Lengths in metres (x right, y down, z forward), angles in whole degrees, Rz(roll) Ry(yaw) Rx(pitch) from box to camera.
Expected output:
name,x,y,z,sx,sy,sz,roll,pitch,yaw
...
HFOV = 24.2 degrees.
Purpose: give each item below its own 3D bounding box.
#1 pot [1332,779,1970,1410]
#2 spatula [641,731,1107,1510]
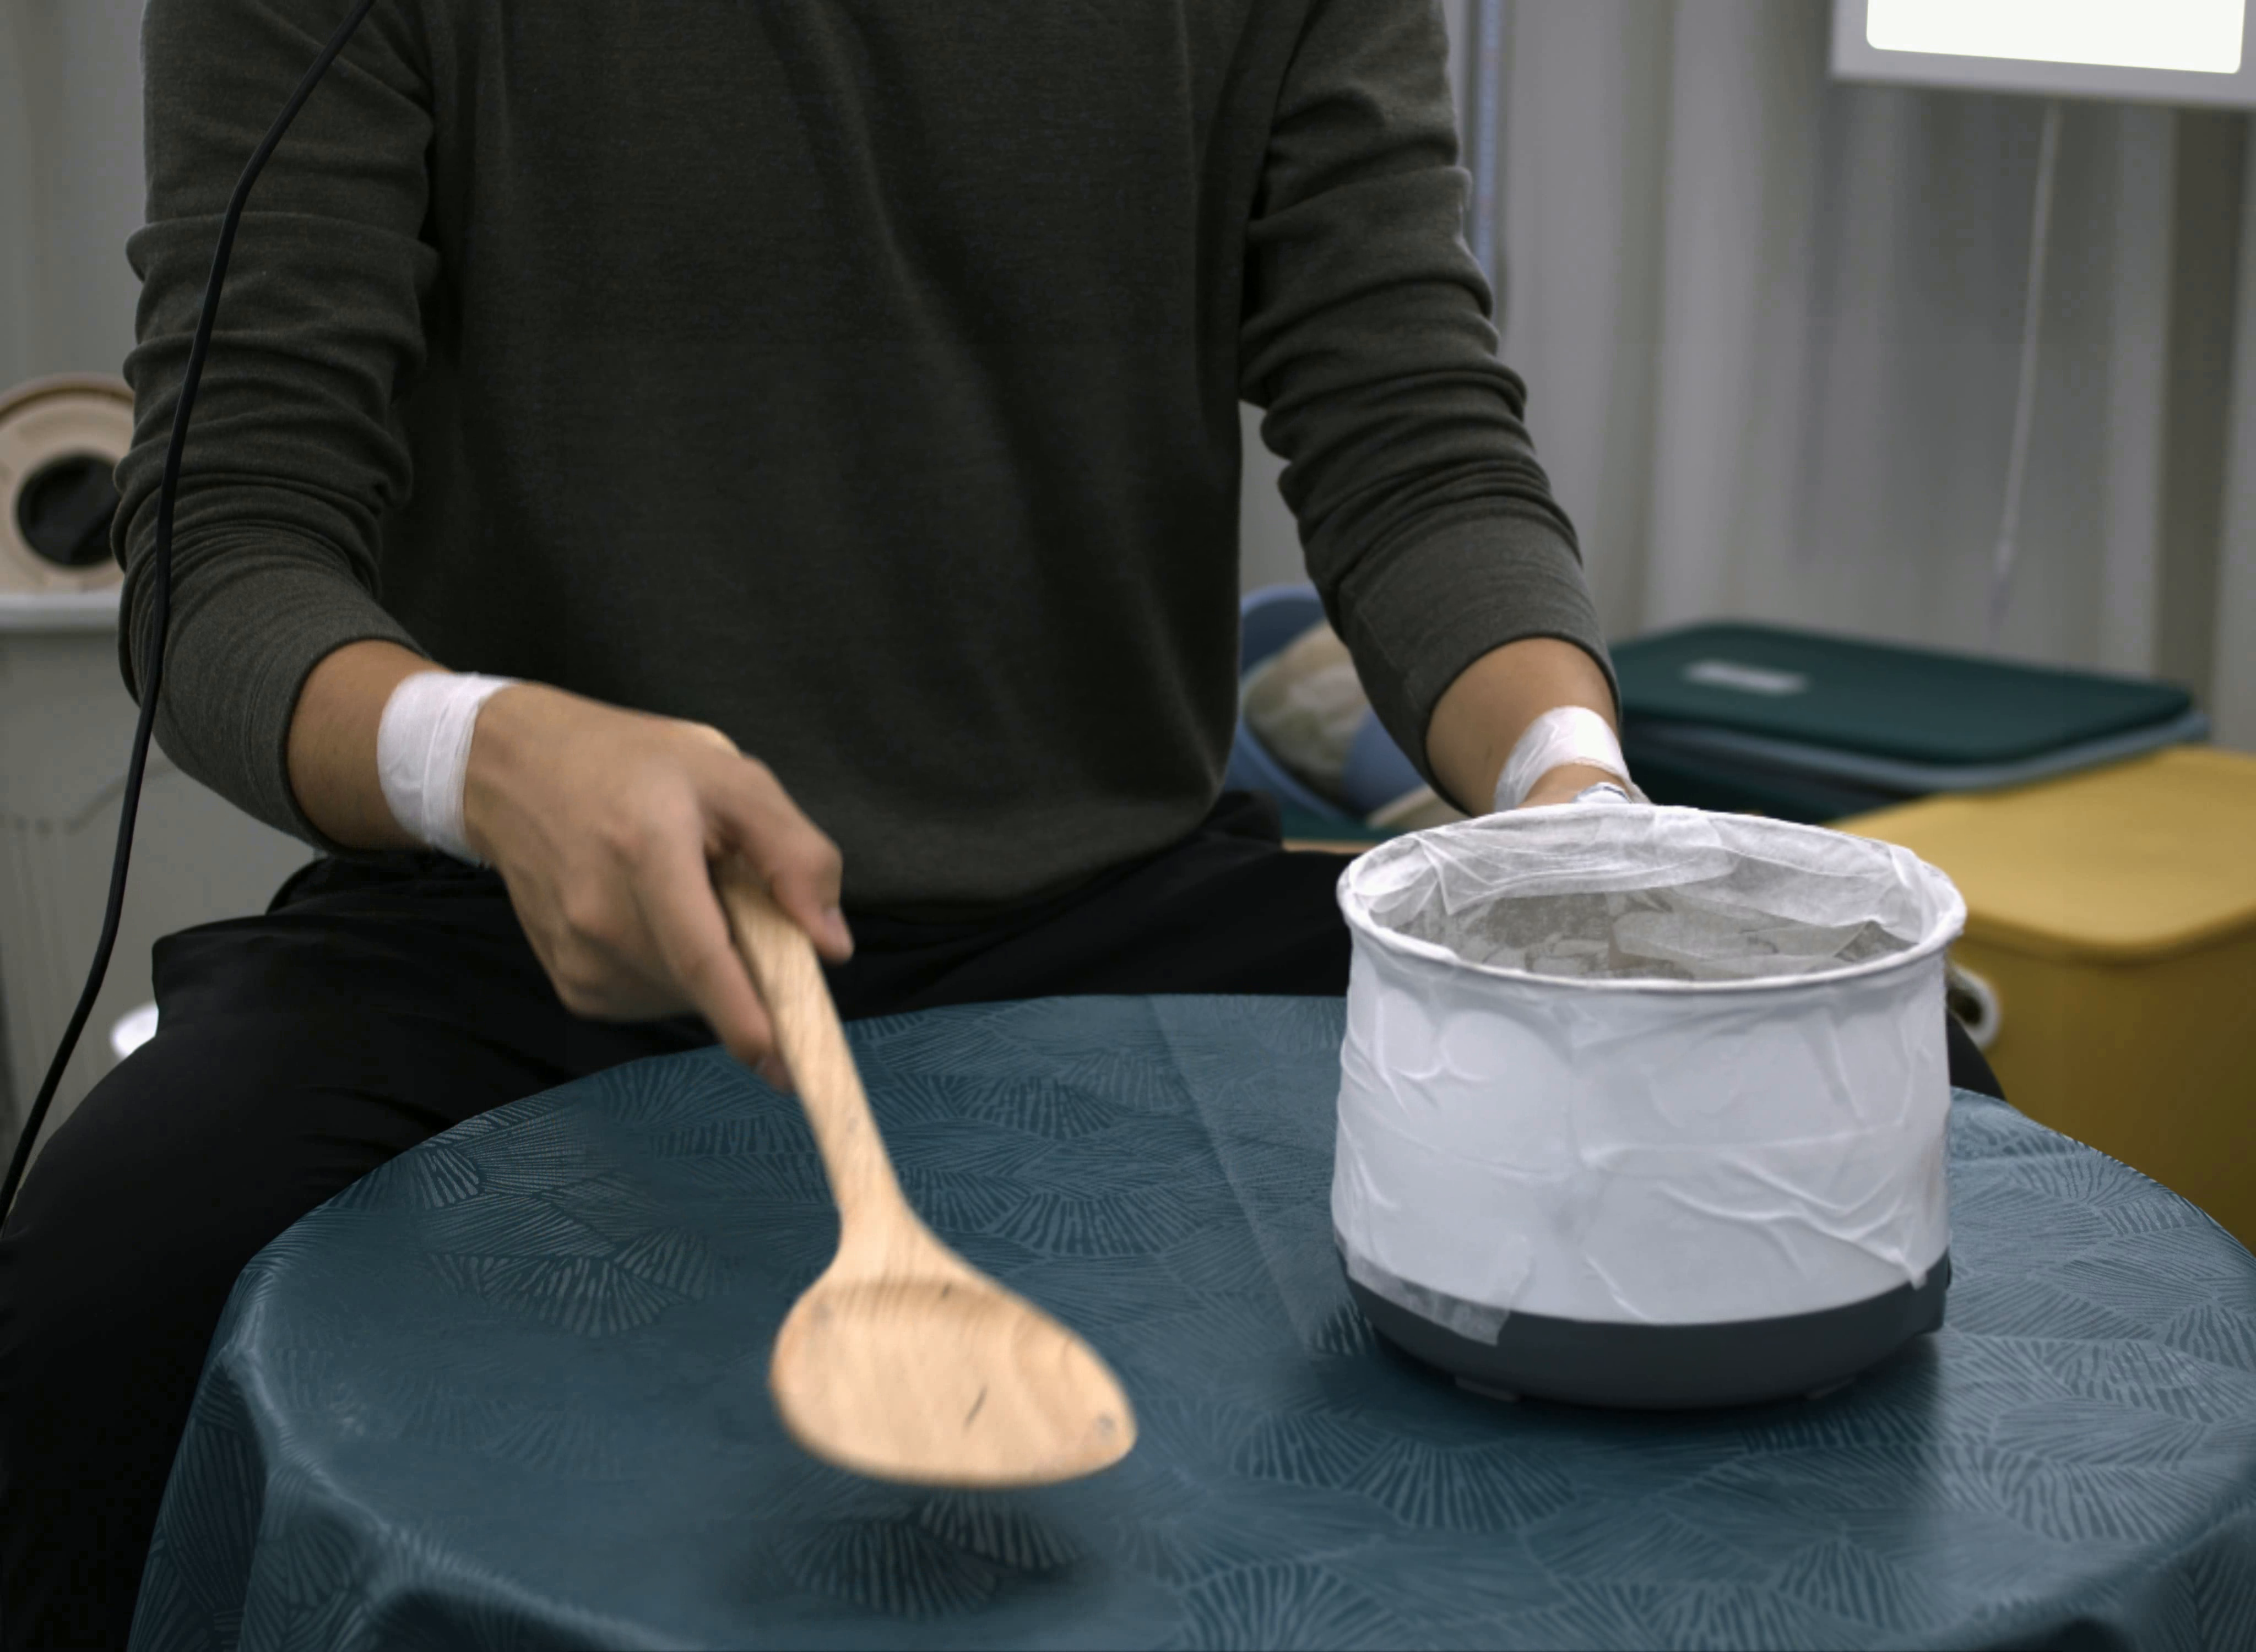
name,x,y,z,sx,sy,sz,roll,pitch,yaw
pot,0.144,0.071,1.518,0.178,0.138,0.232,0,16,-4
spatula,-0.094,0.071,1.463,0.096,0.018,0.386,5,31,-20
